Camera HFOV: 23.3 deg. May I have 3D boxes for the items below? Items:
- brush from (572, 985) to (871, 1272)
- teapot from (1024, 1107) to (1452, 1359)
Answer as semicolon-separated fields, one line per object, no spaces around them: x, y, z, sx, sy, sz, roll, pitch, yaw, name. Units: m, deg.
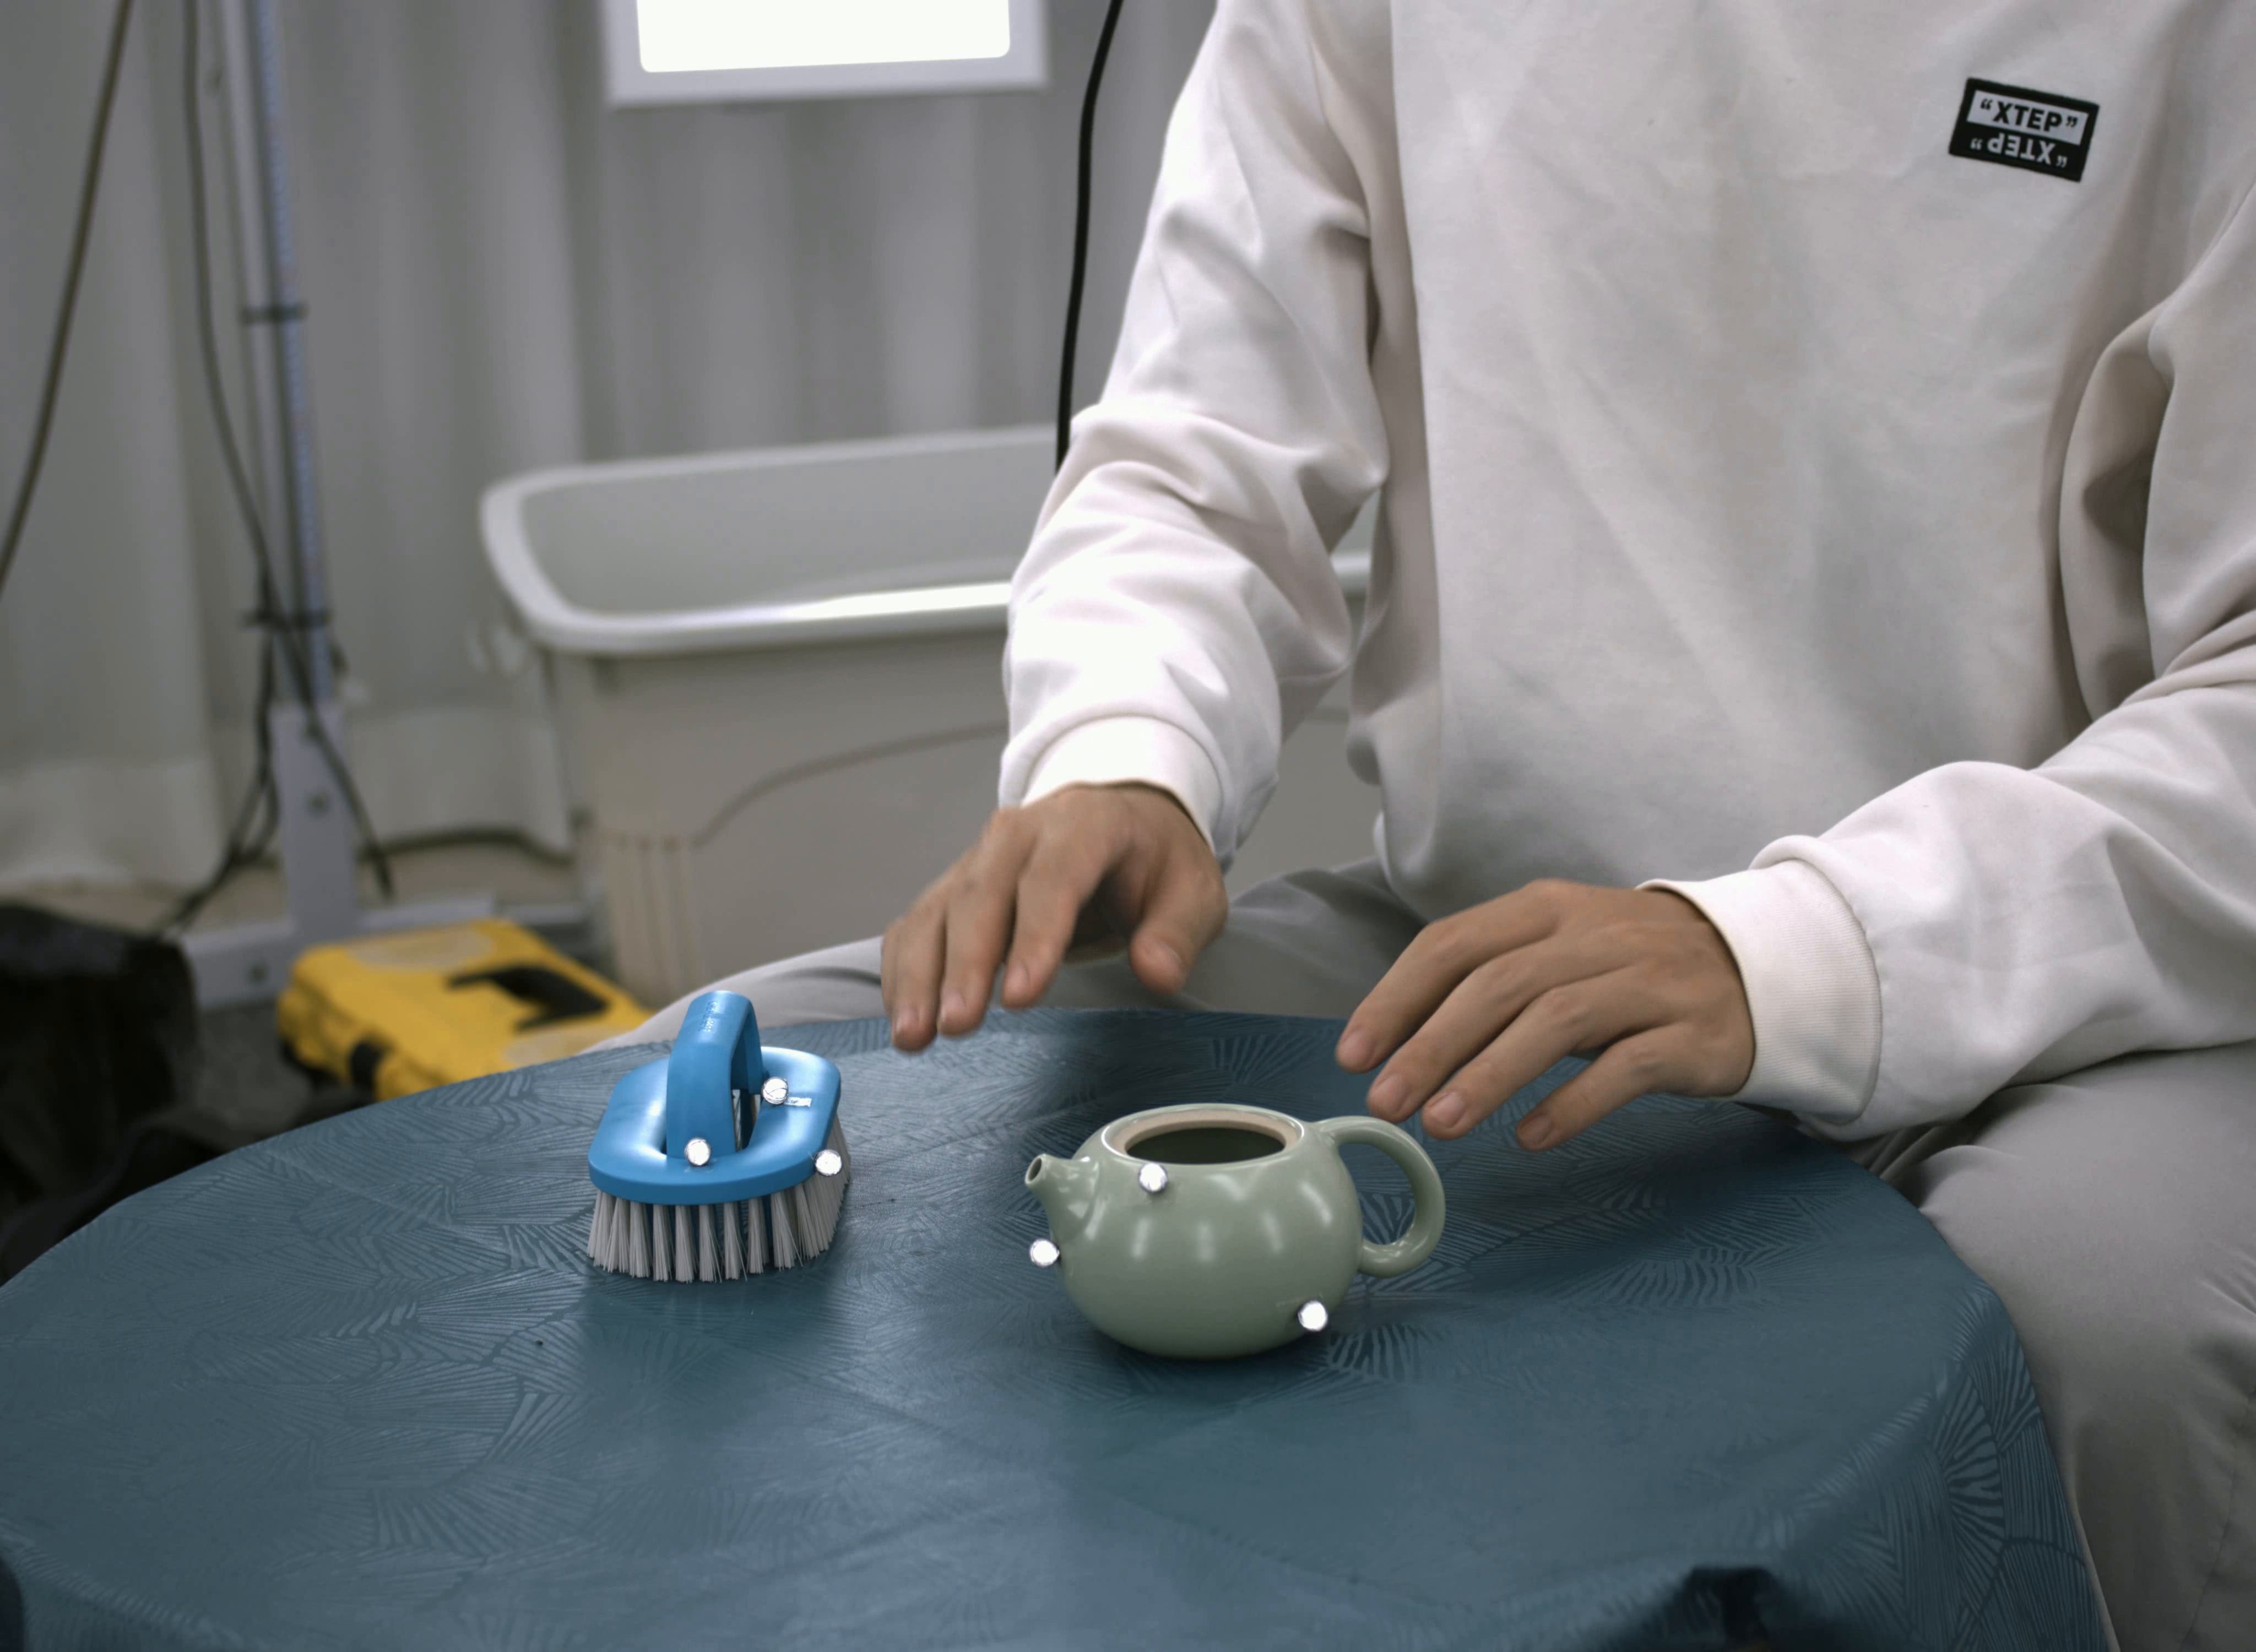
-0.128;0.089;1.713;0.084;0.063;0.142;-6;14;6;brush
0.033;0.118;1.588;0.128;0.061;0.092;-4;11;-13;teapot
